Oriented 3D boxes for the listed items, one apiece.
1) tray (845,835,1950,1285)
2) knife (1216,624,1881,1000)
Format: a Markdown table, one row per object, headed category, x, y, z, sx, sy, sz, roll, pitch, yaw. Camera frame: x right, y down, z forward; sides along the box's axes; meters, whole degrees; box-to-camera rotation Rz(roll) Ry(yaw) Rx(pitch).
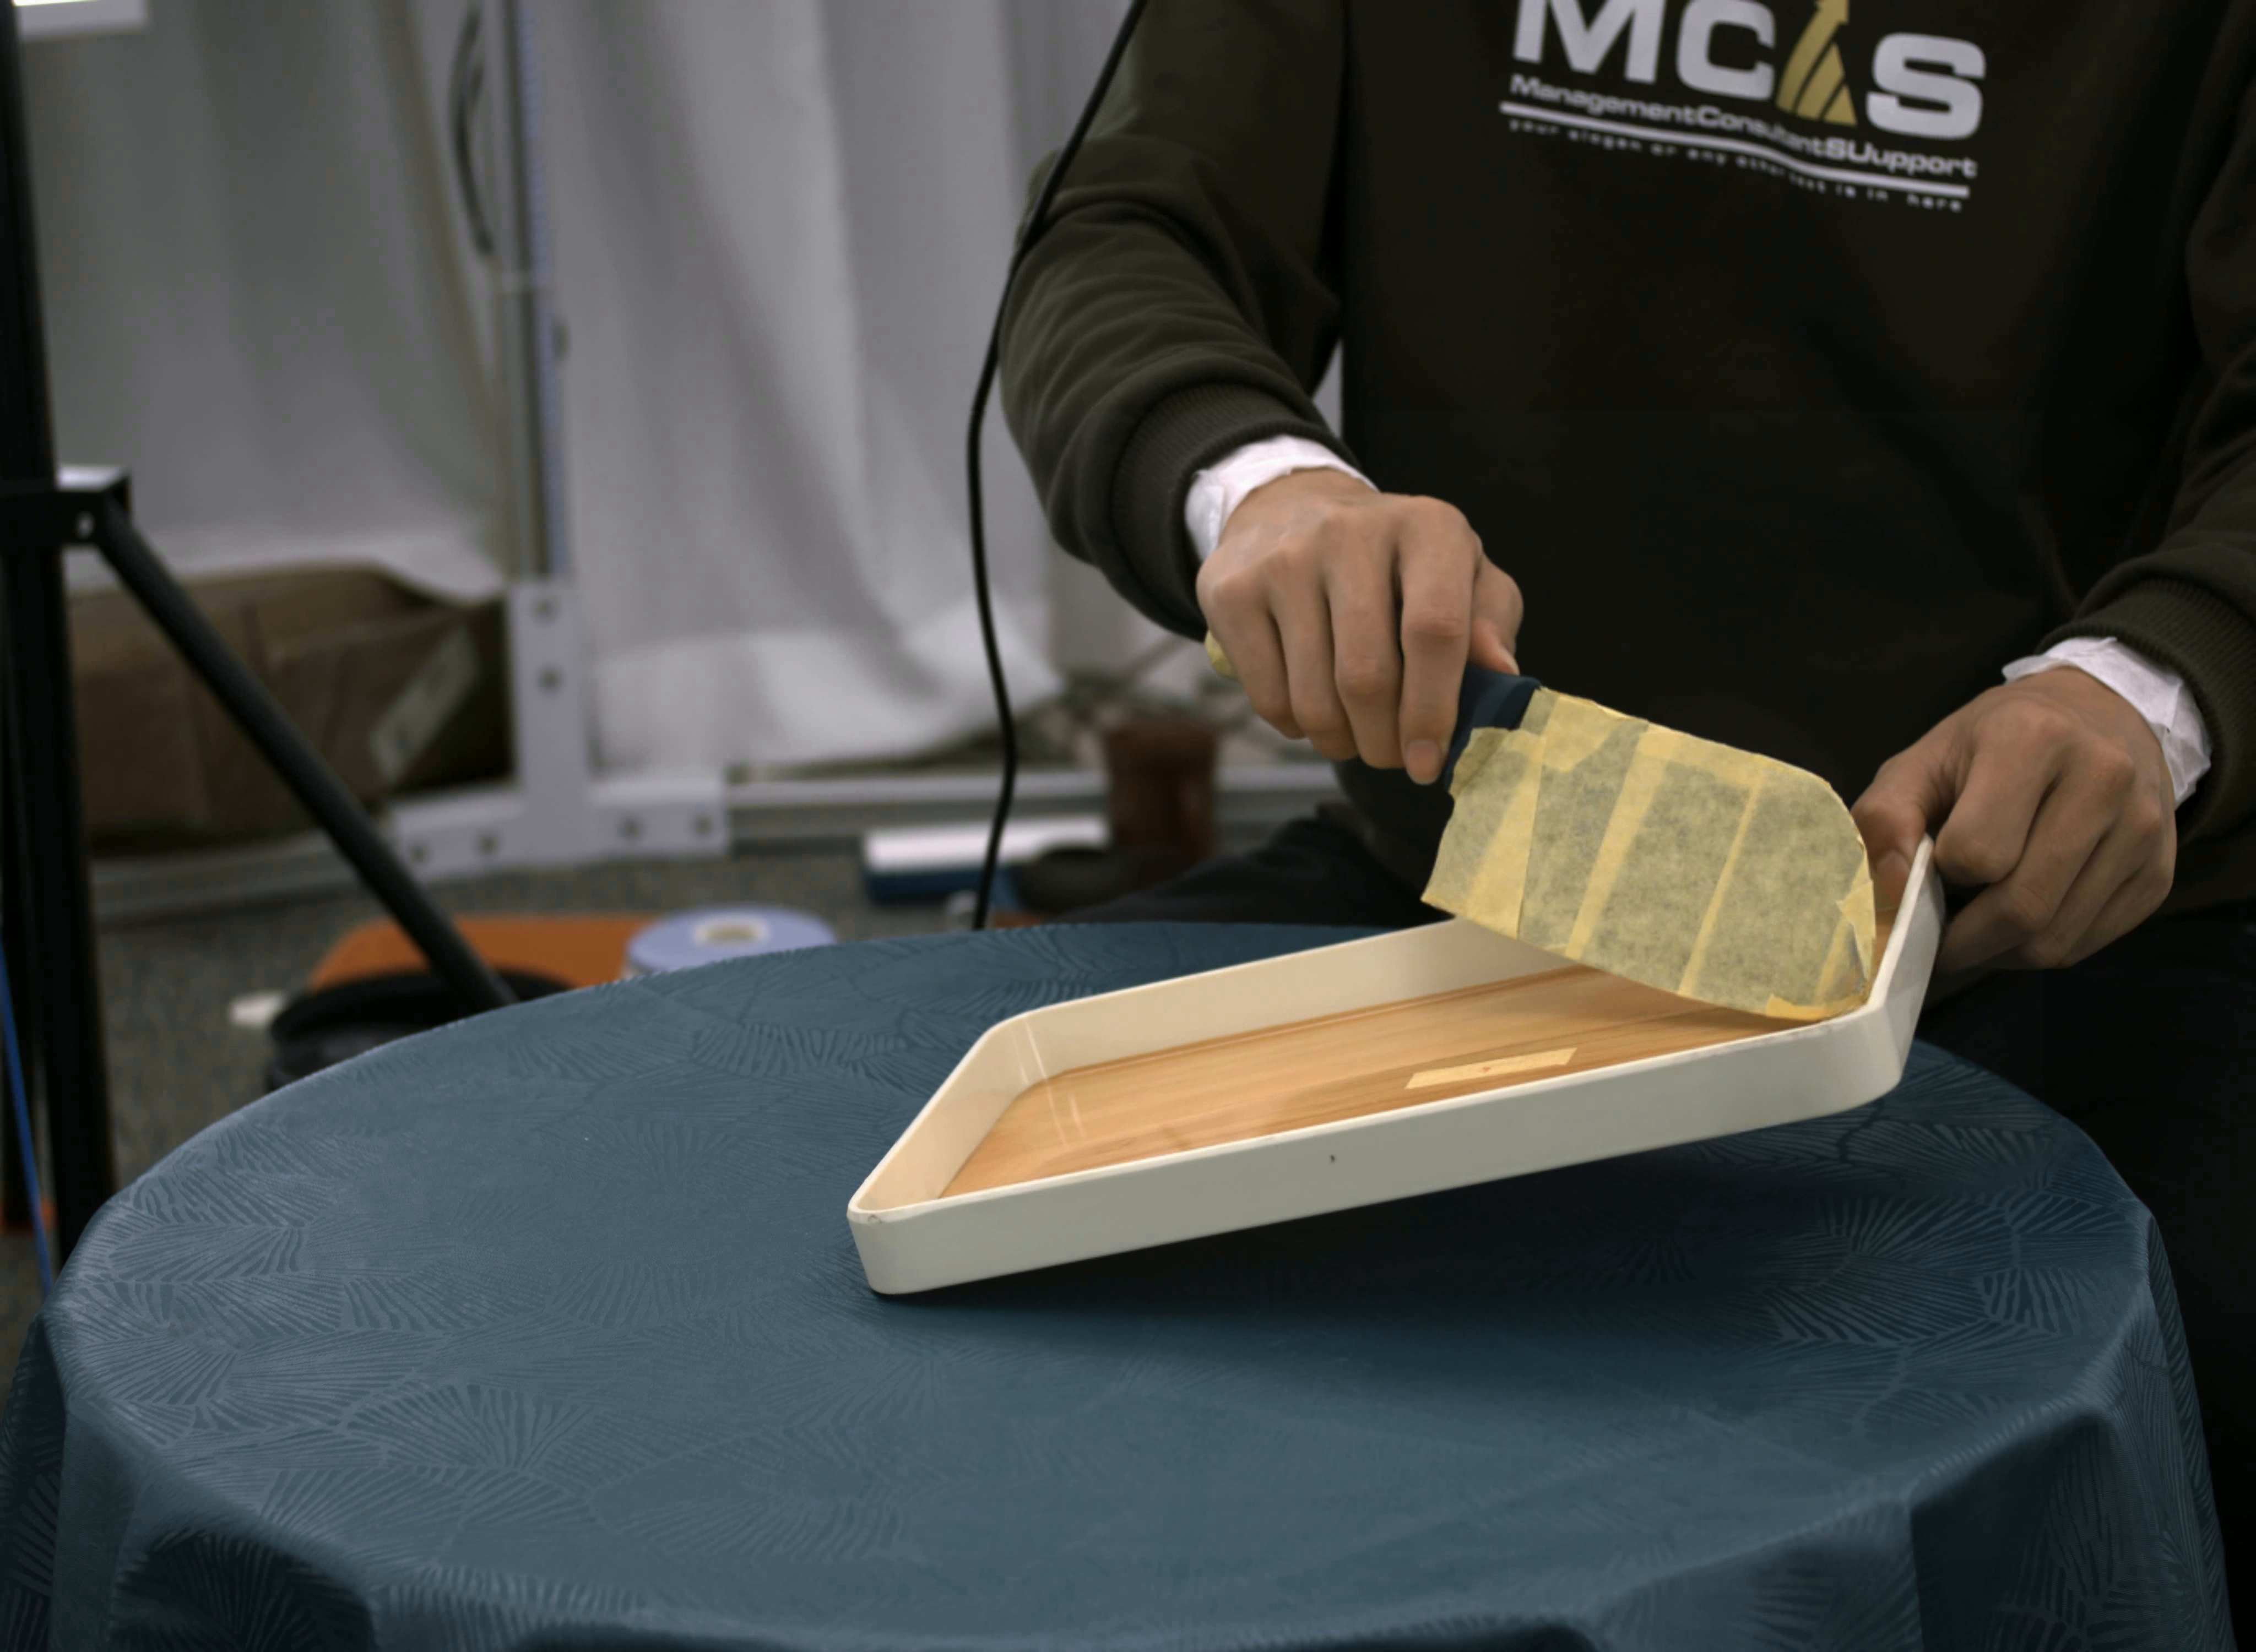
| category | x | y | z | sx | sy | sz | roll | pitch | yaw |
| --- | --- | --- | --- | --- | --- | --- | --- | --- | --- |
| tray | 0.081 | 0.067 | 1.520 | 0.303 | 0.027 | 0.190 | -12 | 12 | 18 |
| knife | 0.117 | -0.007 | 1.558 | 0.026 | 0.081 | 0.296 | 25 | -1 | -41 |
